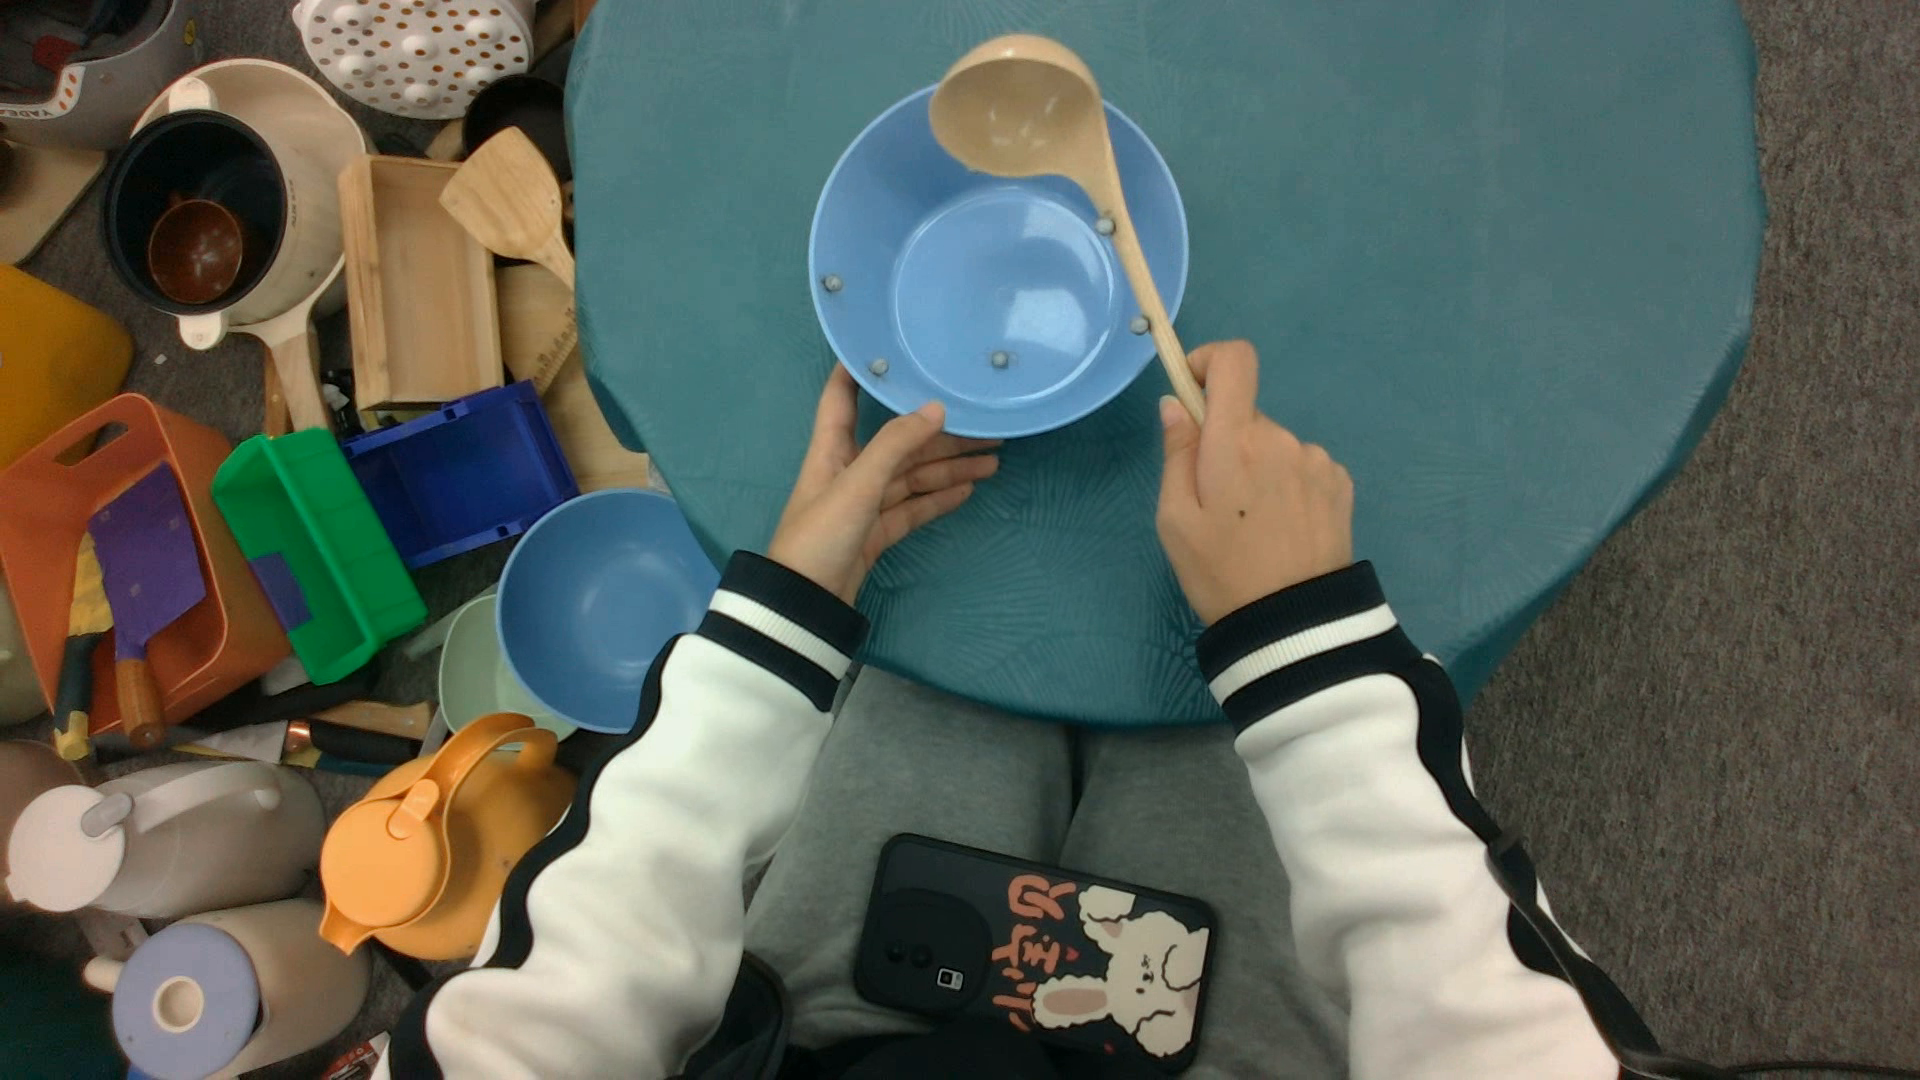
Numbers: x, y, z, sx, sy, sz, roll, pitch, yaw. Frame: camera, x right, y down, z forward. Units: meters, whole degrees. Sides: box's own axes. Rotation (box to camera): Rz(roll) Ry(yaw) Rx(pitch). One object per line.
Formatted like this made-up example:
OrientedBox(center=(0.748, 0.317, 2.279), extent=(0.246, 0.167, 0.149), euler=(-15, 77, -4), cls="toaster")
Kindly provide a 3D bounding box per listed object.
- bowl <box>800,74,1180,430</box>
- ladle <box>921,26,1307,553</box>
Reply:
OrientedBox(center=(0.016, -0.131, 0.665), extent=(0.176, 0.070, 0.176), euler=(-1, 80, 6), cls="bowl")
OrientedBox(center=(0.062, -0.101, 0.576), extent=(0.072, 0.073, 0.255), euler=(-38, 72, 42), cls="ladle")
